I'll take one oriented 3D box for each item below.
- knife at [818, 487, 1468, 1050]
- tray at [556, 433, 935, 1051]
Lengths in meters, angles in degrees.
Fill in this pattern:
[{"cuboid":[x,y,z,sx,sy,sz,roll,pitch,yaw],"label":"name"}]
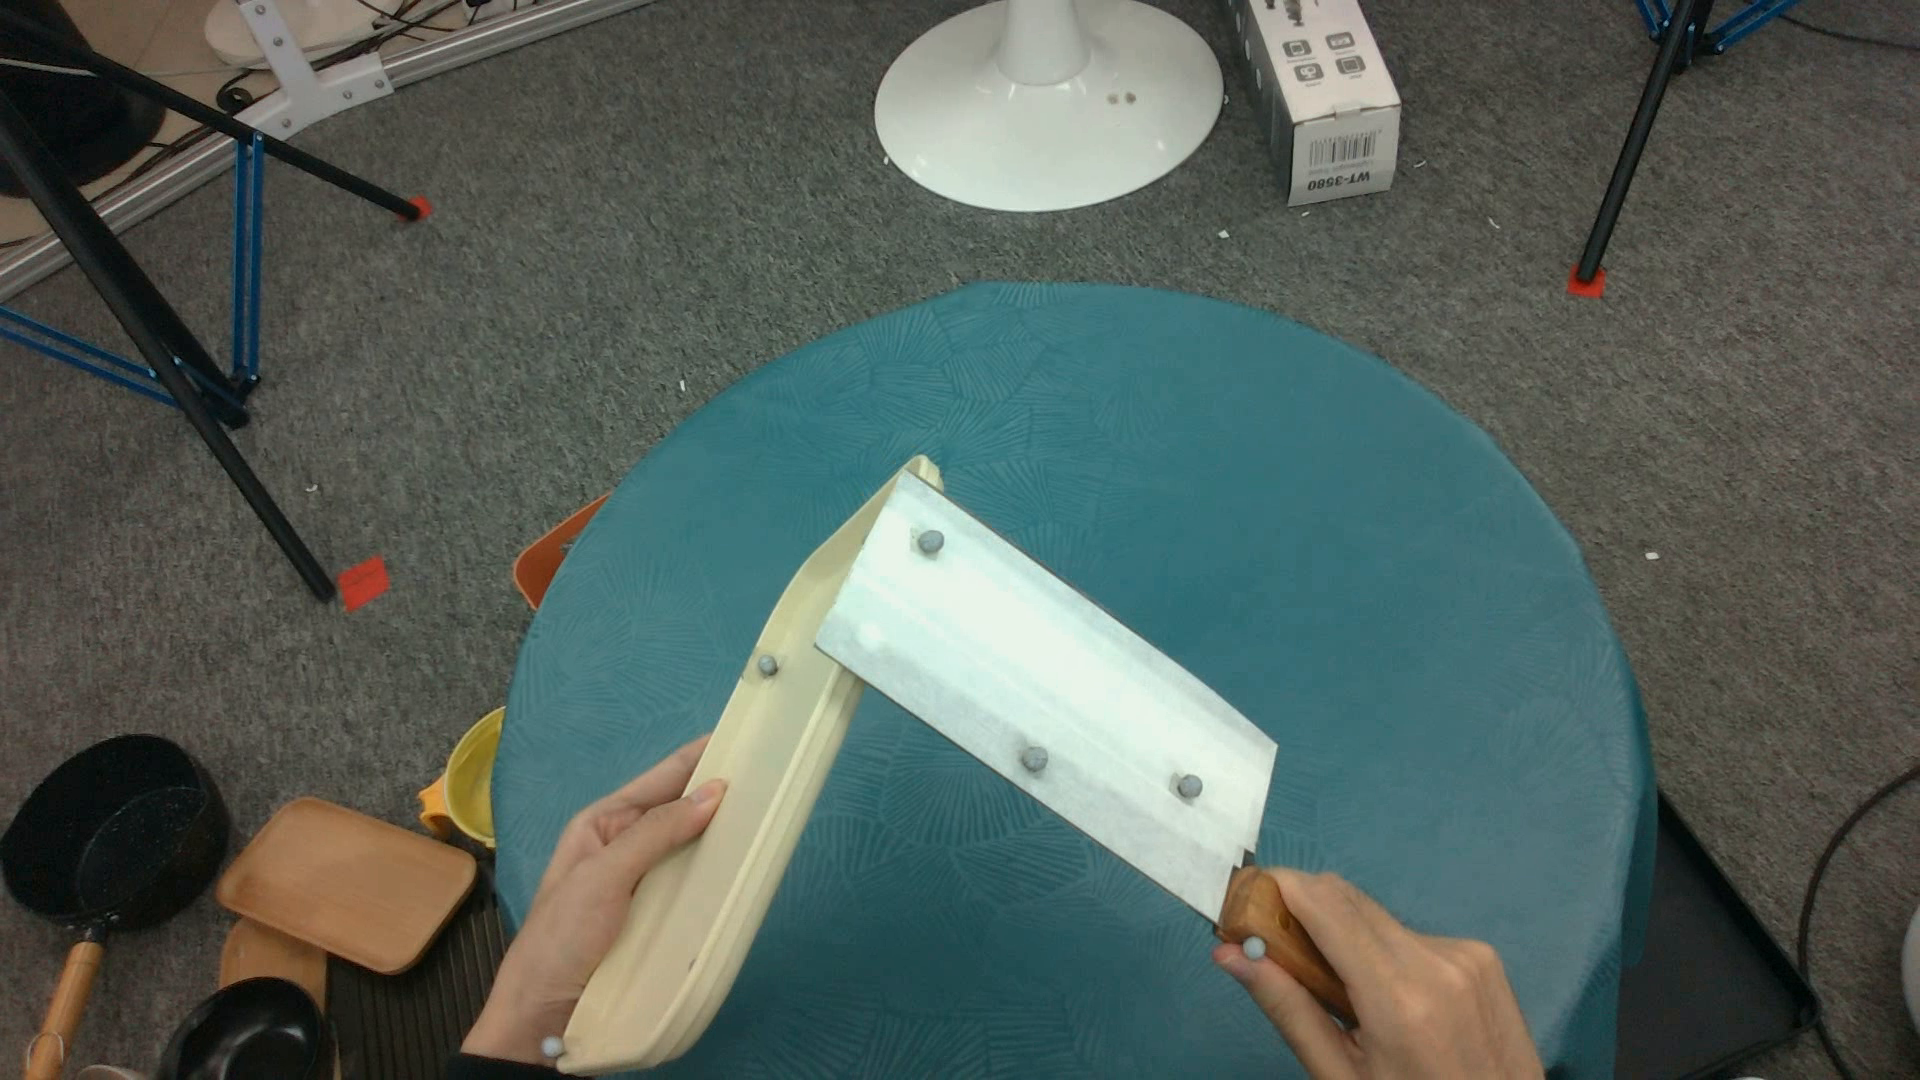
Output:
[{"cuboid":[0.082,0.084,0.515,0.305,0.021,0.093,36,47,-15],"label":"knife"},{"cuboid":[-0.080,0.077,0.529,0.017,0.170,0.241,31,58,-15],"label":"tray"}]
